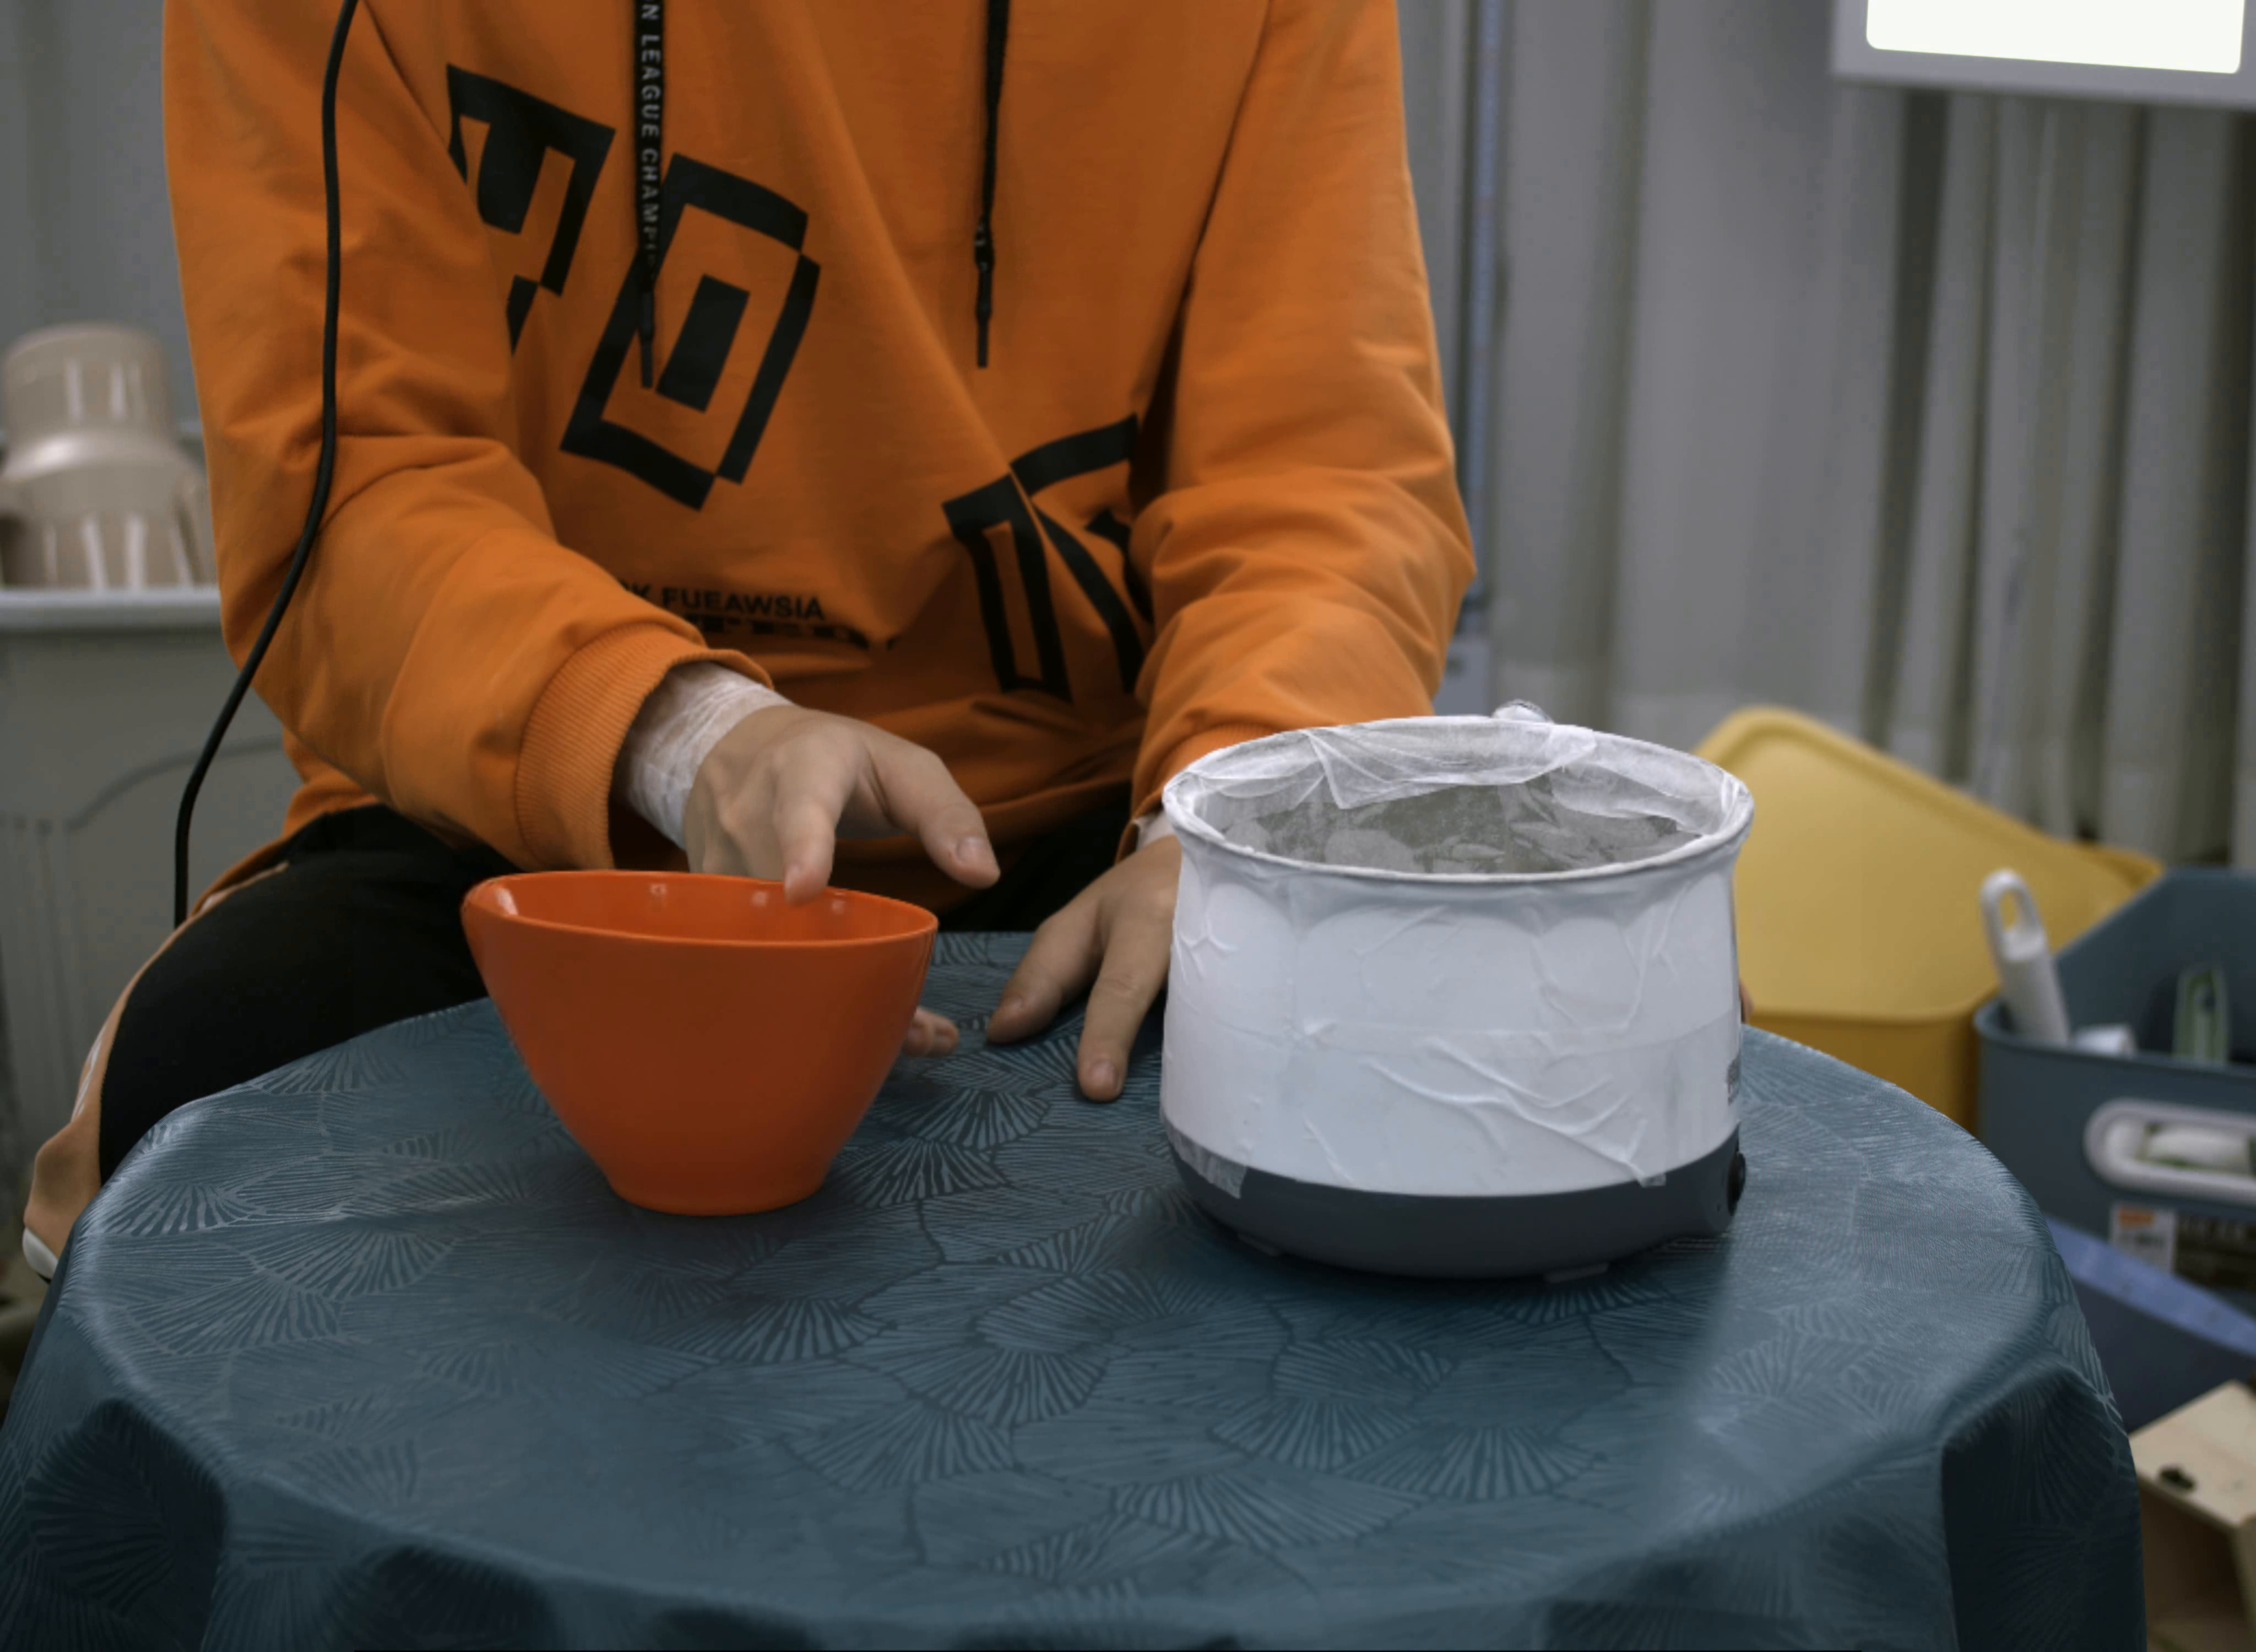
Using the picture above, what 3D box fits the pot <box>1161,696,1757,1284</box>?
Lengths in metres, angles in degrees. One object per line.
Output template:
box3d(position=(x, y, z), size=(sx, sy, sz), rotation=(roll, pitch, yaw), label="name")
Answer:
box3d(position=(0.105, 0.044, 1.614), size=(0.177, 0.138, 0.233), rotation=(4, 17, 12), label="pot")

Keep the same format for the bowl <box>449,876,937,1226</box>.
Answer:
box3d(position=(-0.132, 0.066, 1.605), size=(0.147, 0.105, 0.147), rotation=(1, 15, 0), label="bowl")
